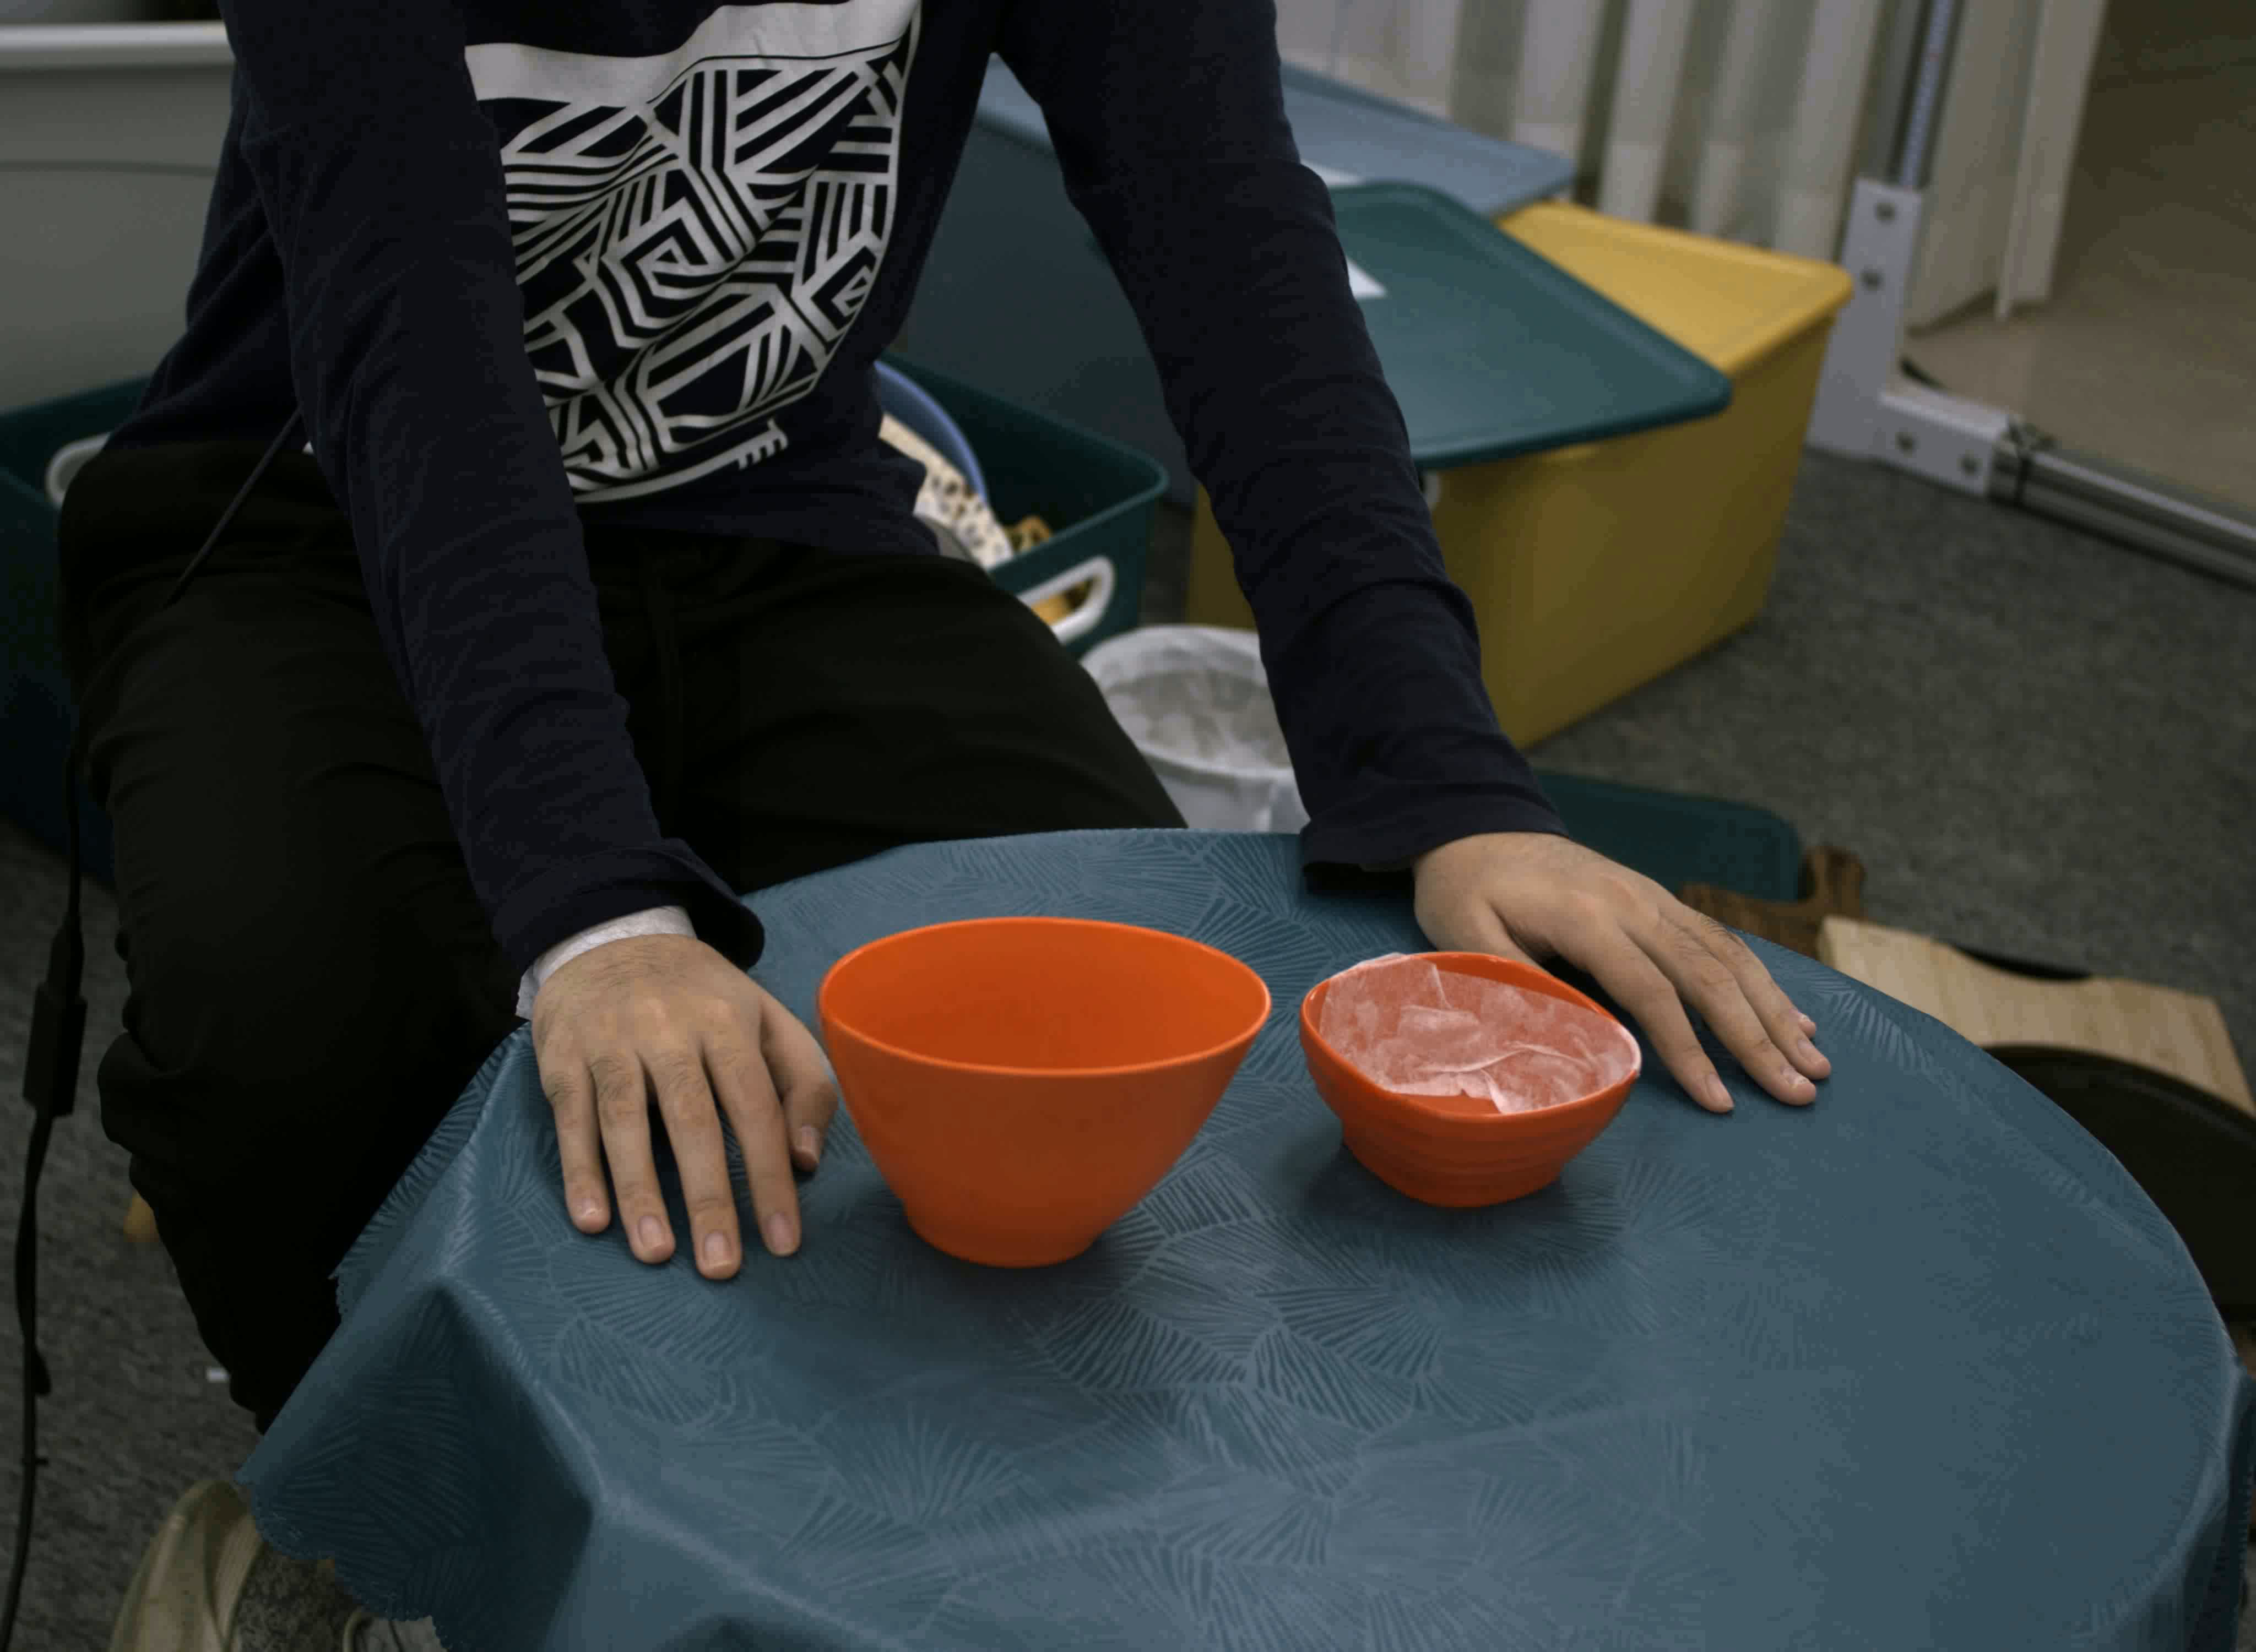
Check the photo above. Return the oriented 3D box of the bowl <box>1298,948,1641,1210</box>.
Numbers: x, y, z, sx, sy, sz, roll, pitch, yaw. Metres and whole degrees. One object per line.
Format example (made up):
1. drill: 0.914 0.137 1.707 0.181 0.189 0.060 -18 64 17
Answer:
1. bowl: 0.115 0.092 1.839 0.118 0.051 0.119 4 28 -2

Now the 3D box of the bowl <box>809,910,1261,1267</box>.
1. bowl: -0.035 0.090 1.751 0.147 0.104 0.149 5 27 -3
